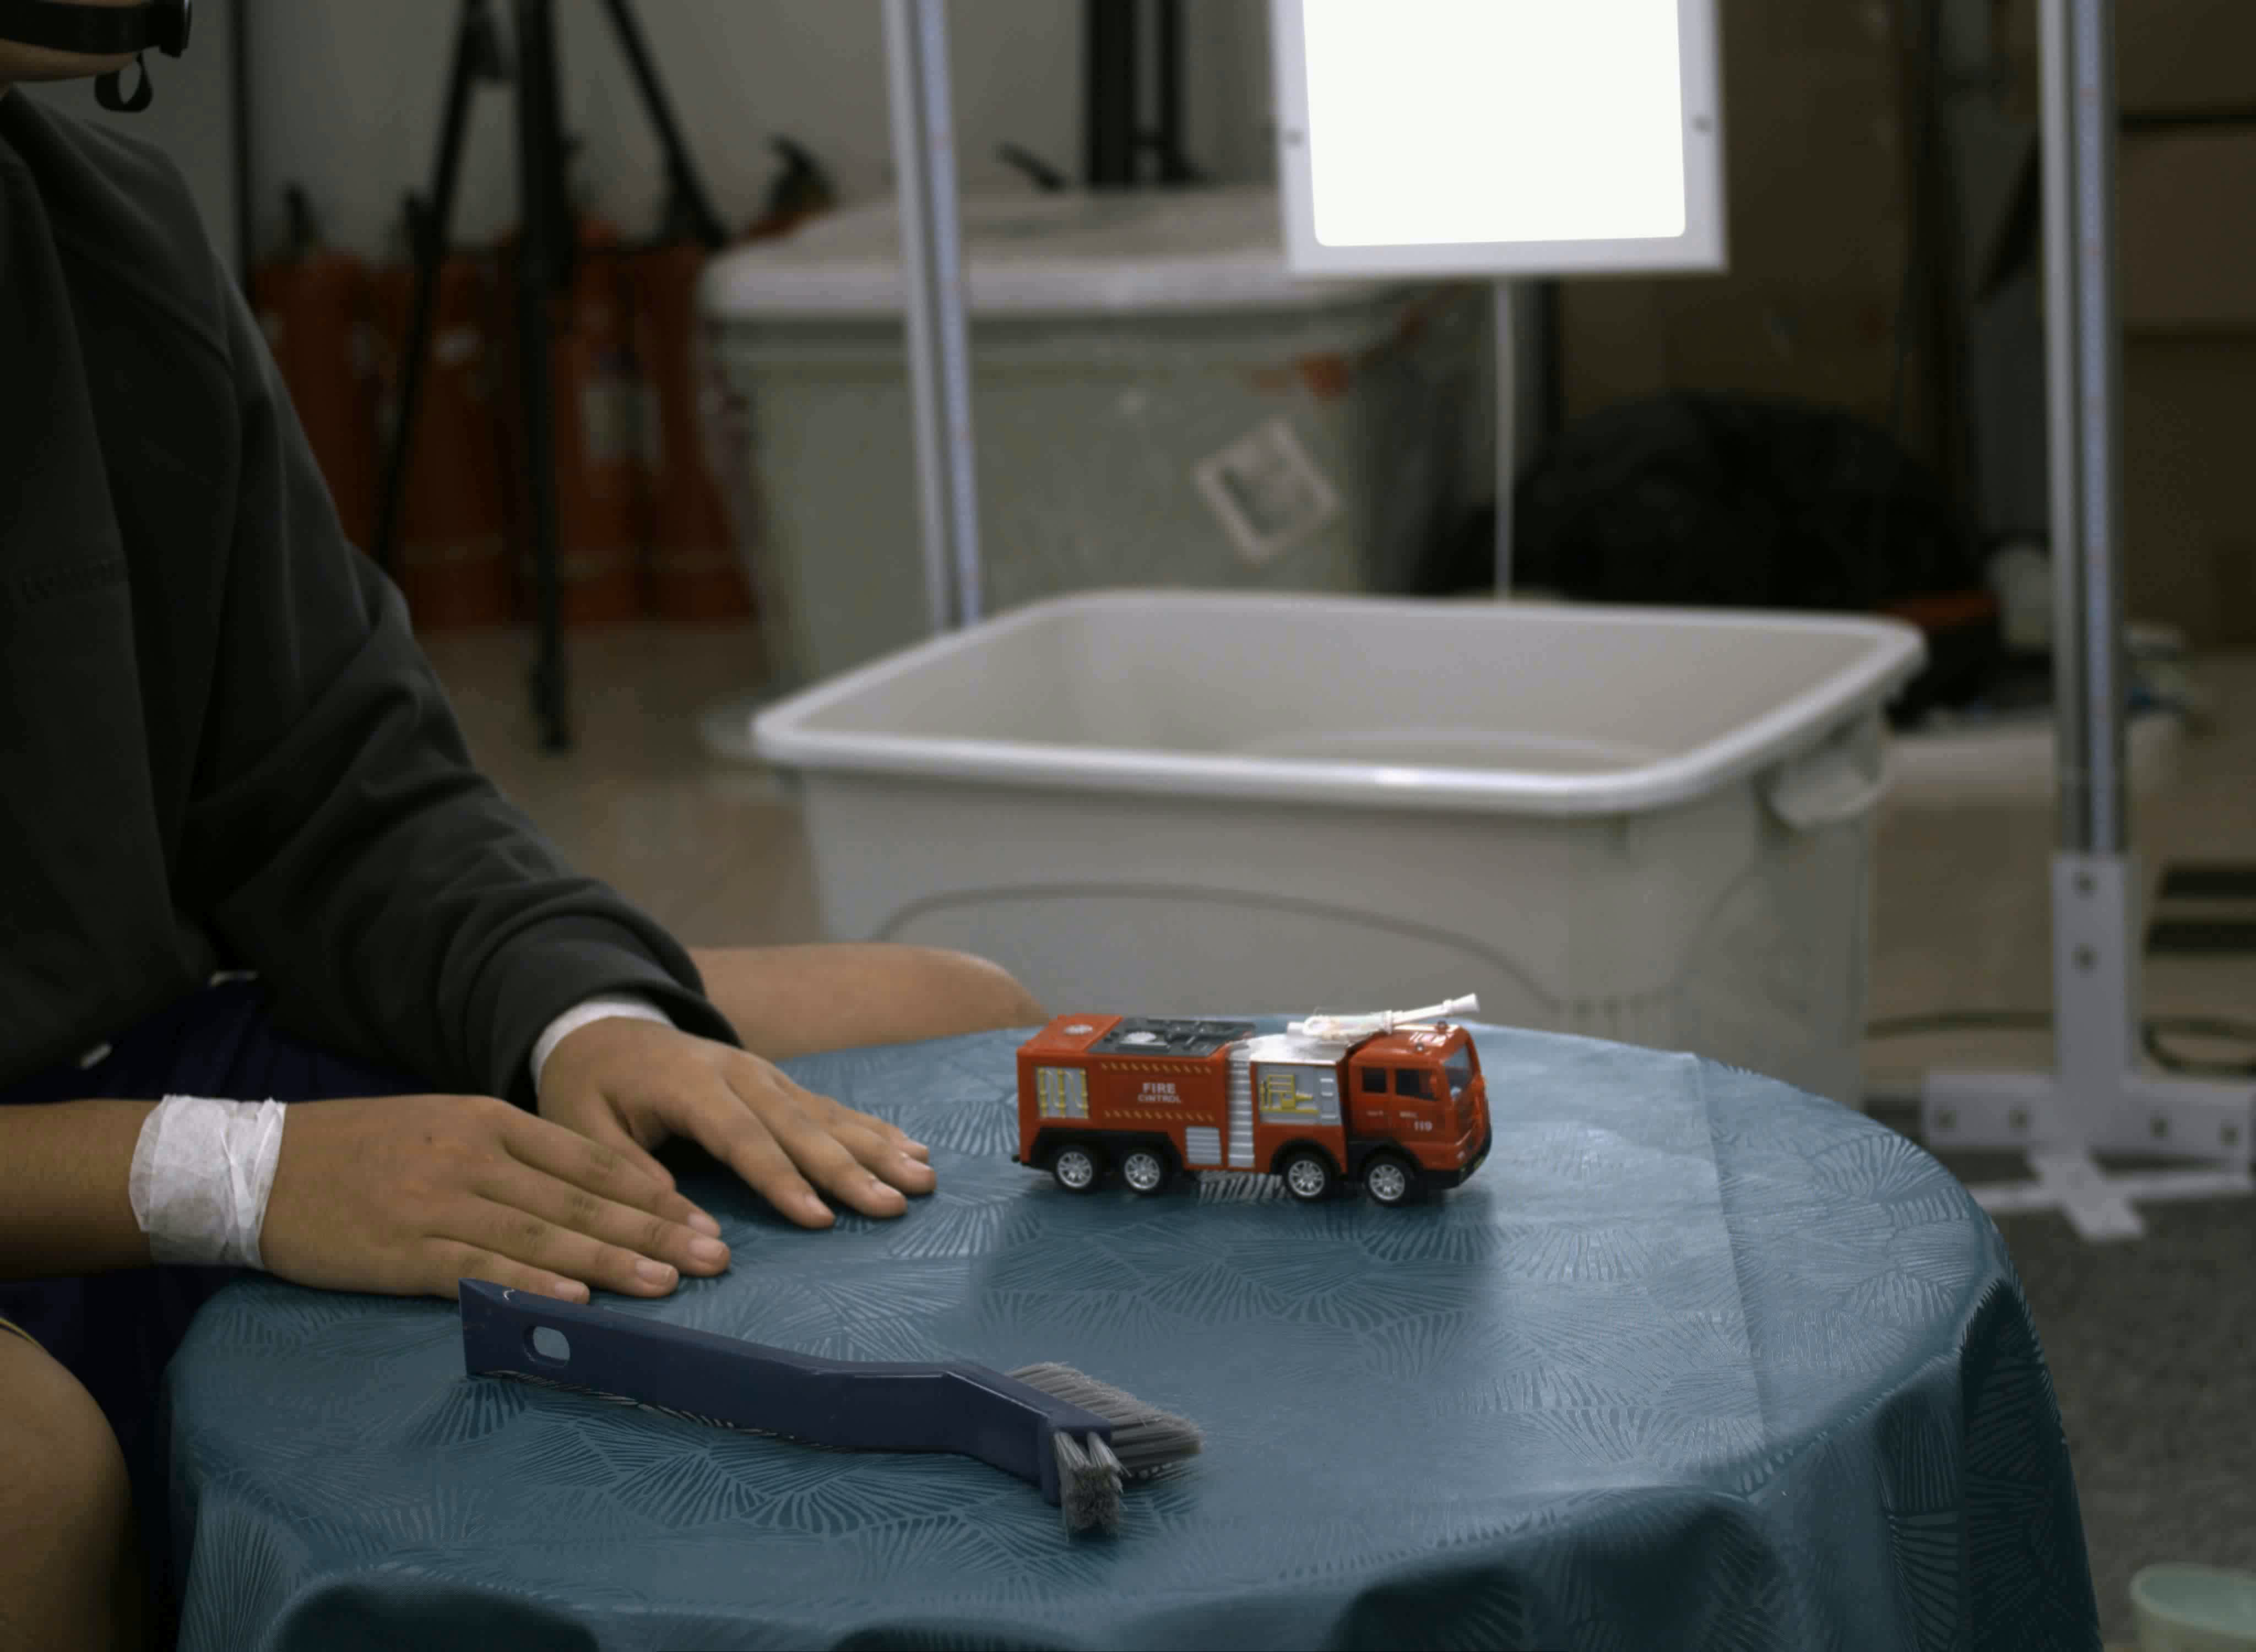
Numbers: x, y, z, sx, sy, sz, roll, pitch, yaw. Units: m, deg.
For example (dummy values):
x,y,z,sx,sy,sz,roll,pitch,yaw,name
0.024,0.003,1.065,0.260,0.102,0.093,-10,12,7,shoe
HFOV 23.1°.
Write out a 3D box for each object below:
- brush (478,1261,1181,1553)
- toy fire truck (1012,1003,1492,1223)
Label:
x,y,z,sx,sy,sz,roll,pitch,yaw,name
-0.107,0.173,1.678,0.278,0.033,0.093,5,18,33,brush
0.043,0.094,1.888,0.170,0.070,0.053,0,15,22,toy fire truck
